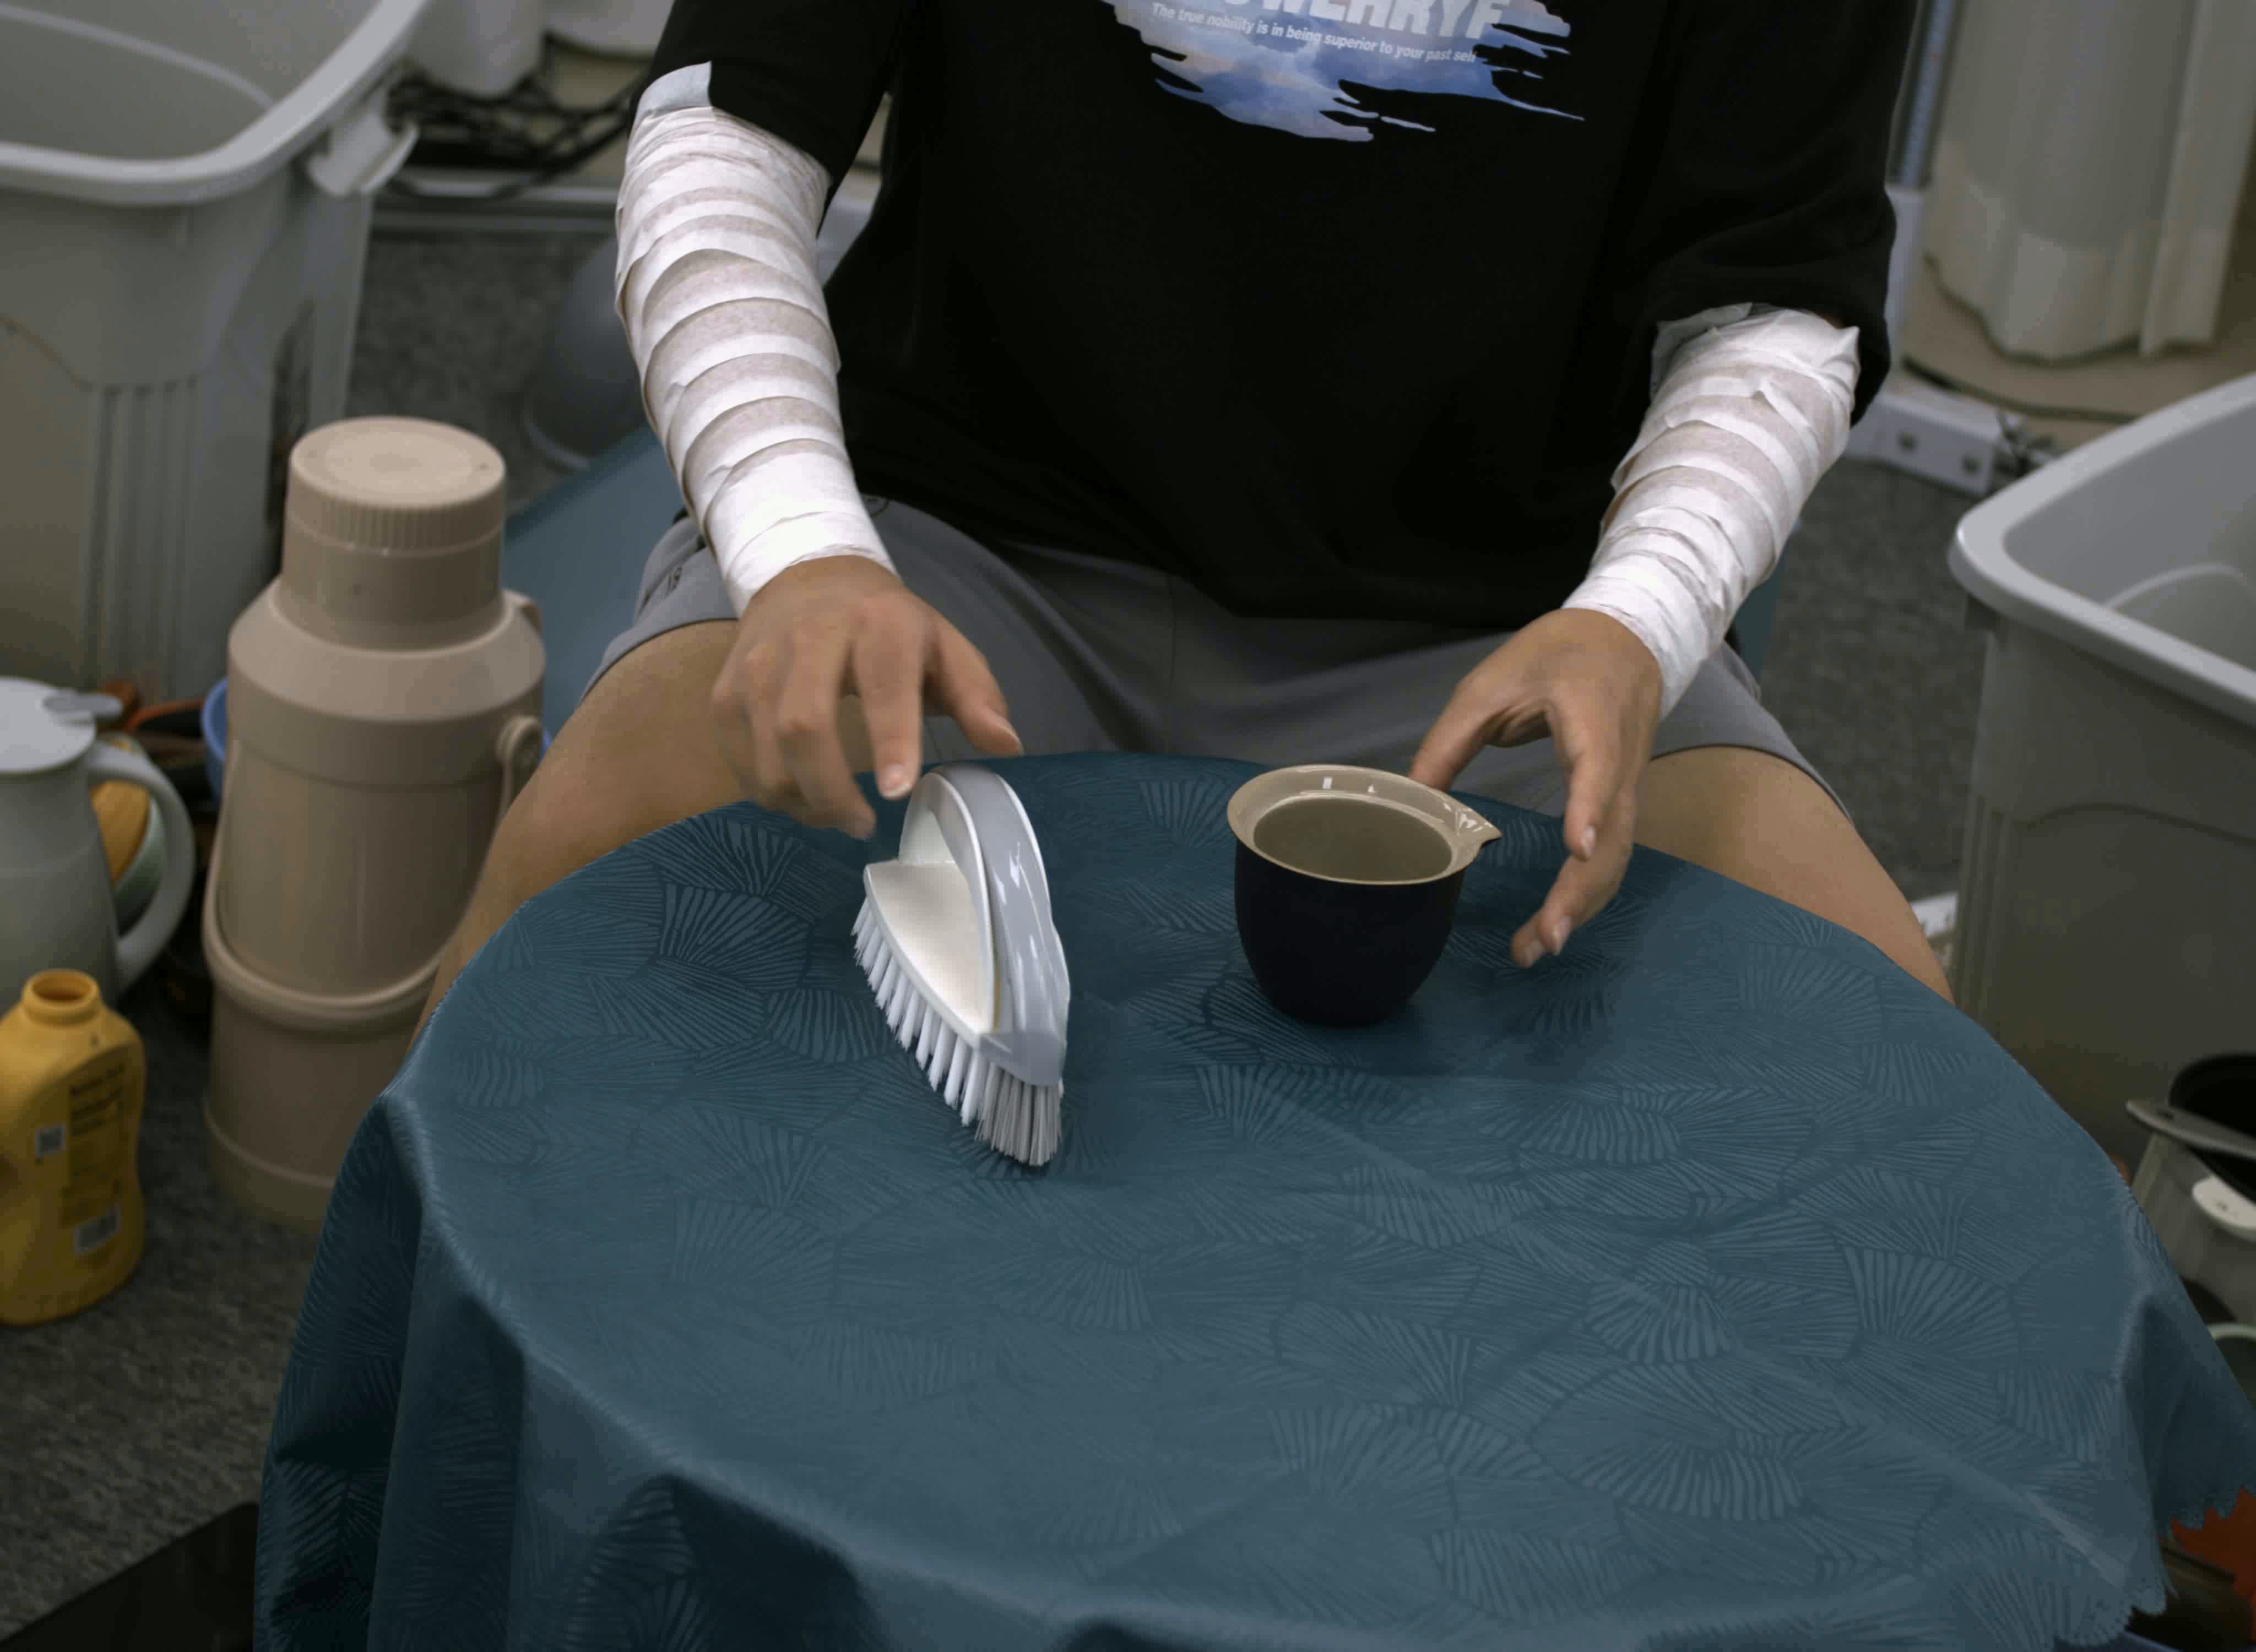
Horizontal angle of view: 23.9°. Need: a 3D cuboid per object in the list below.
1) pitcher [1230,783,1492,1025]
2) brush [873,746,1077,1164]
[{"bbox_3d":[0.081,0.030,1.927,0.095,0.071,0.084,3,25,-15],"label":"pitcher"},{"bbox_3d":[-0.047,0.037,1.863,0.061,0.094,0.177,-4,31,-15],"label":"brush"}]
